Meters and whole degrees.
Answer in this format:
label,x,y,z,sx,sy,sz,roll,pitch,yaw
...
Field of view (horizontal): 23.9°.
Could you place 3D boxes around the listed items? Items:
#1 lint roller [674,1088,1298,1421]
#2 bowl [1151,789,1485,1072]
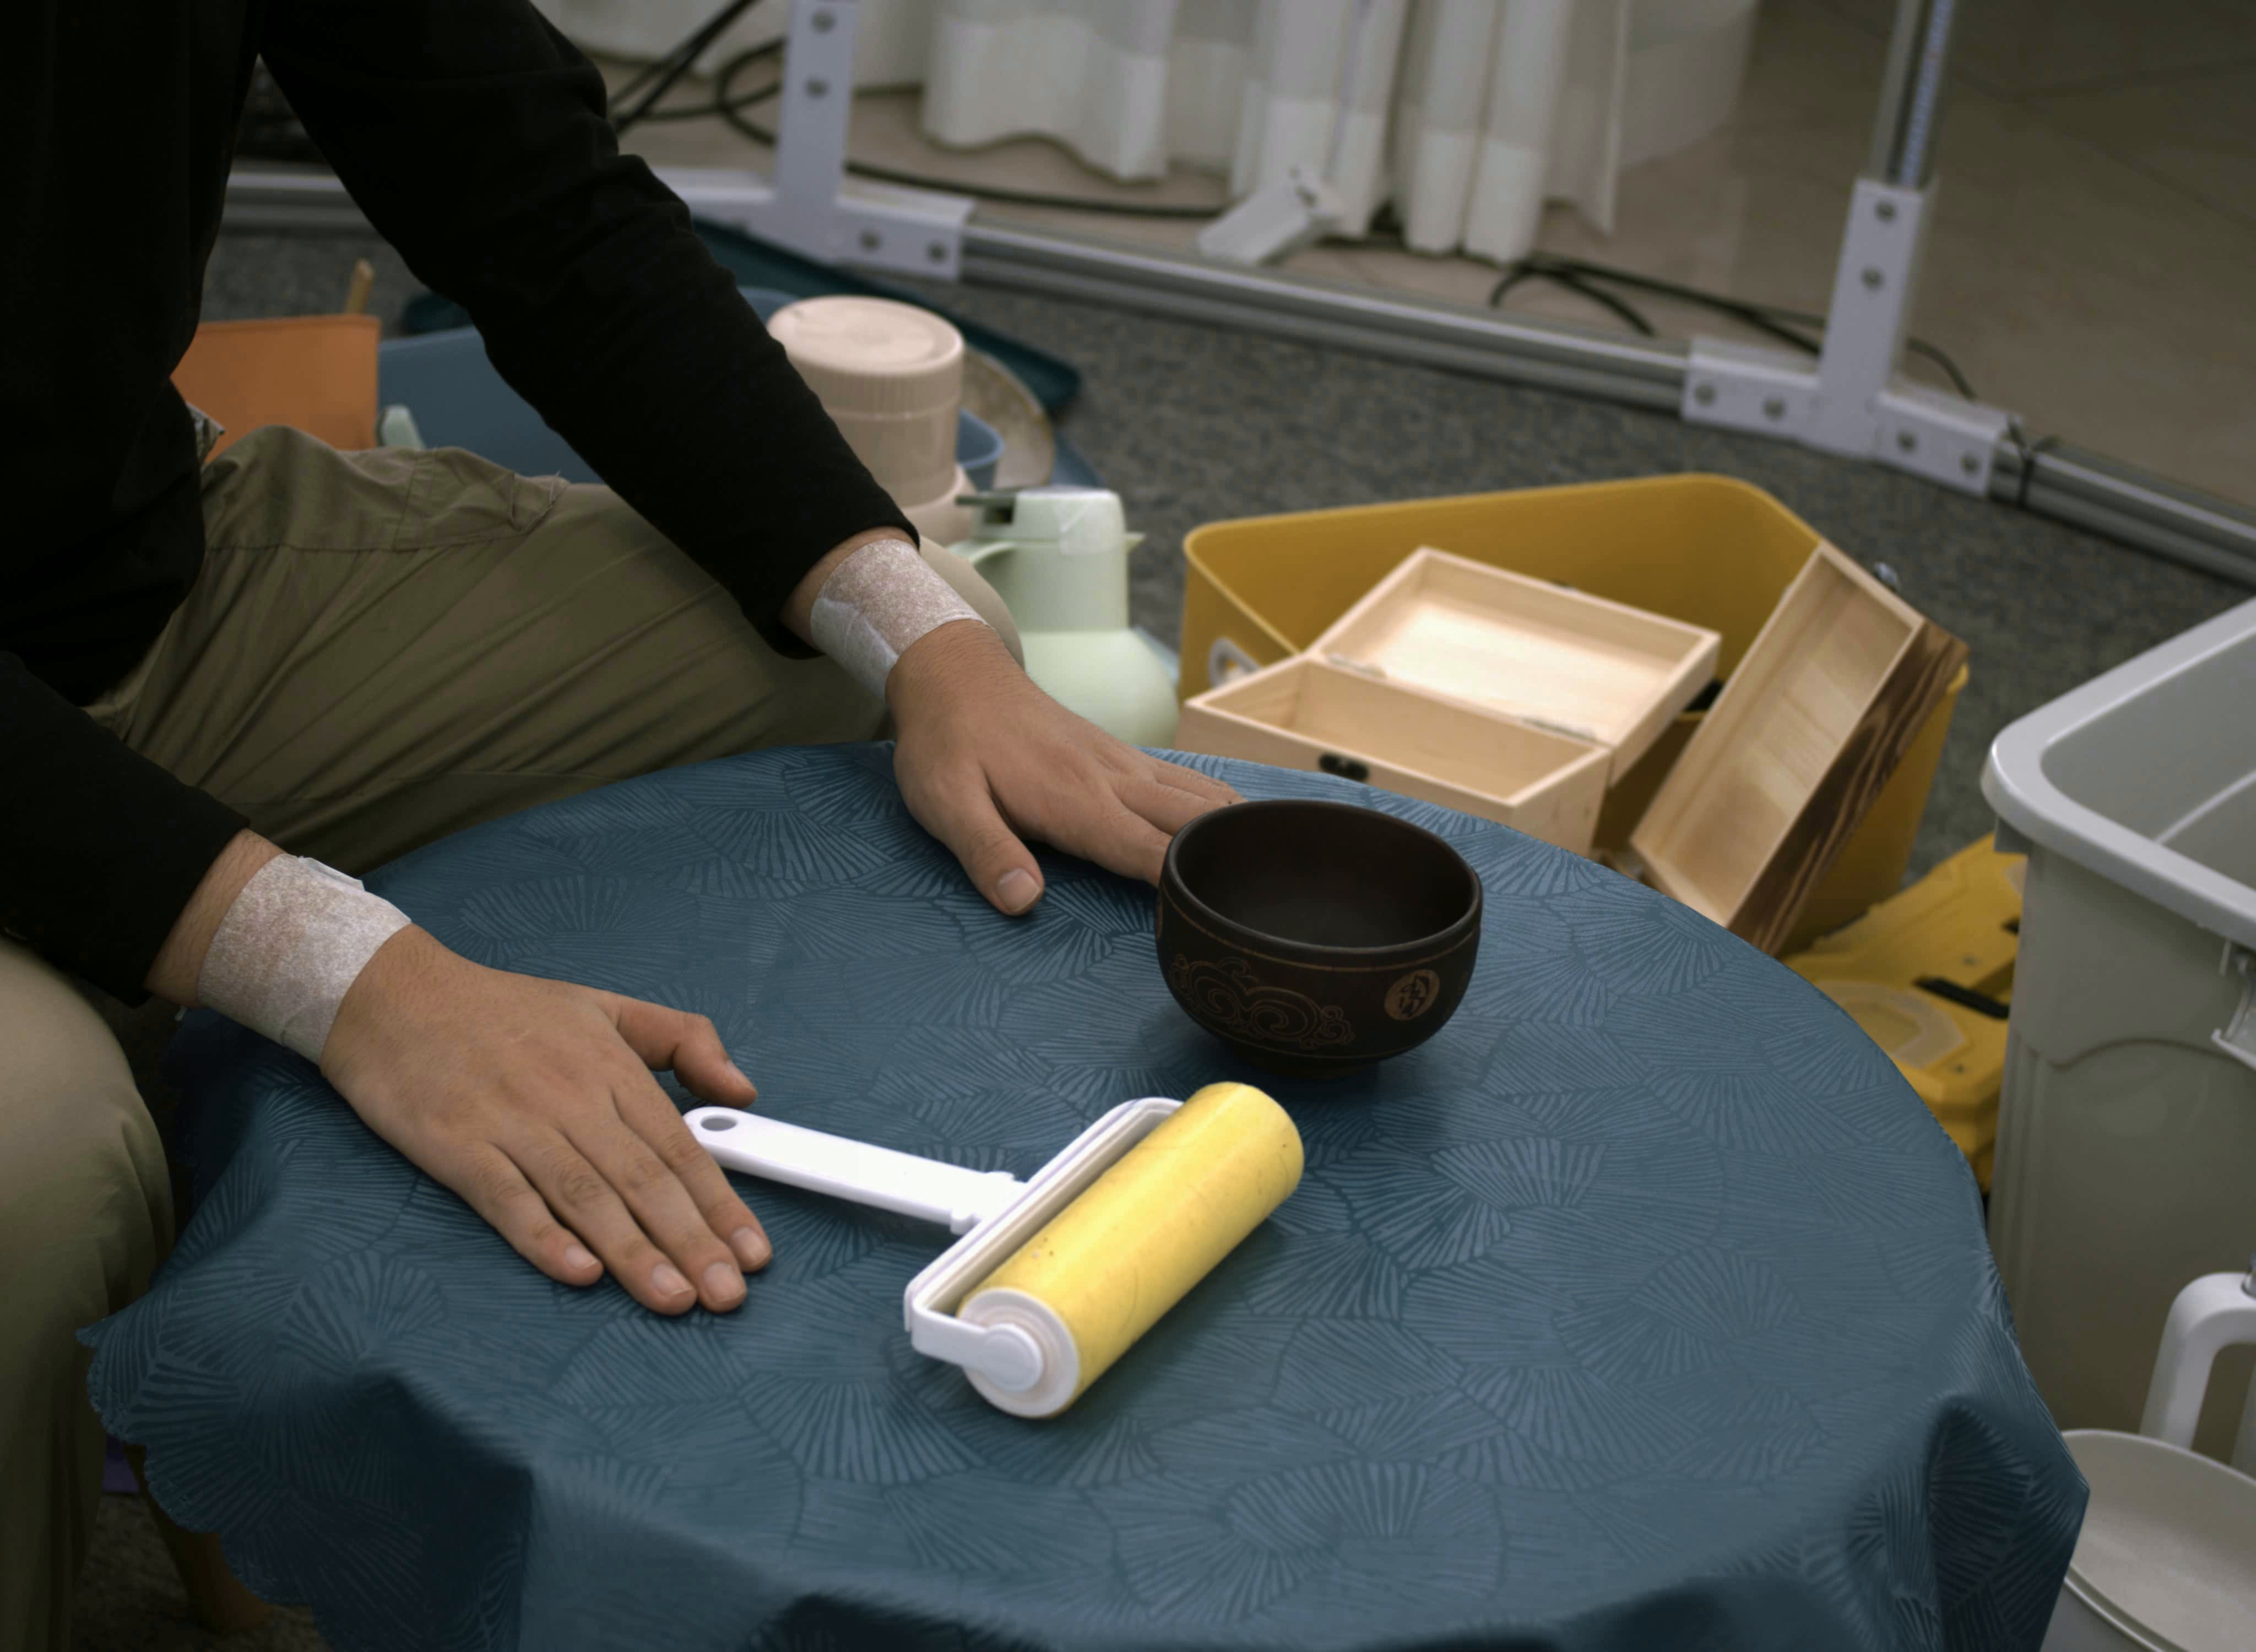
label,x,y,z,sx,sy,sz,roll,pitch,yaw
lint roller,-0.062,0.114,1.749,0.192,0.051,0.174,22,30,18
bowl,0.065,0.044,1.890,0.117,0.069,0.119,6,27,-3
